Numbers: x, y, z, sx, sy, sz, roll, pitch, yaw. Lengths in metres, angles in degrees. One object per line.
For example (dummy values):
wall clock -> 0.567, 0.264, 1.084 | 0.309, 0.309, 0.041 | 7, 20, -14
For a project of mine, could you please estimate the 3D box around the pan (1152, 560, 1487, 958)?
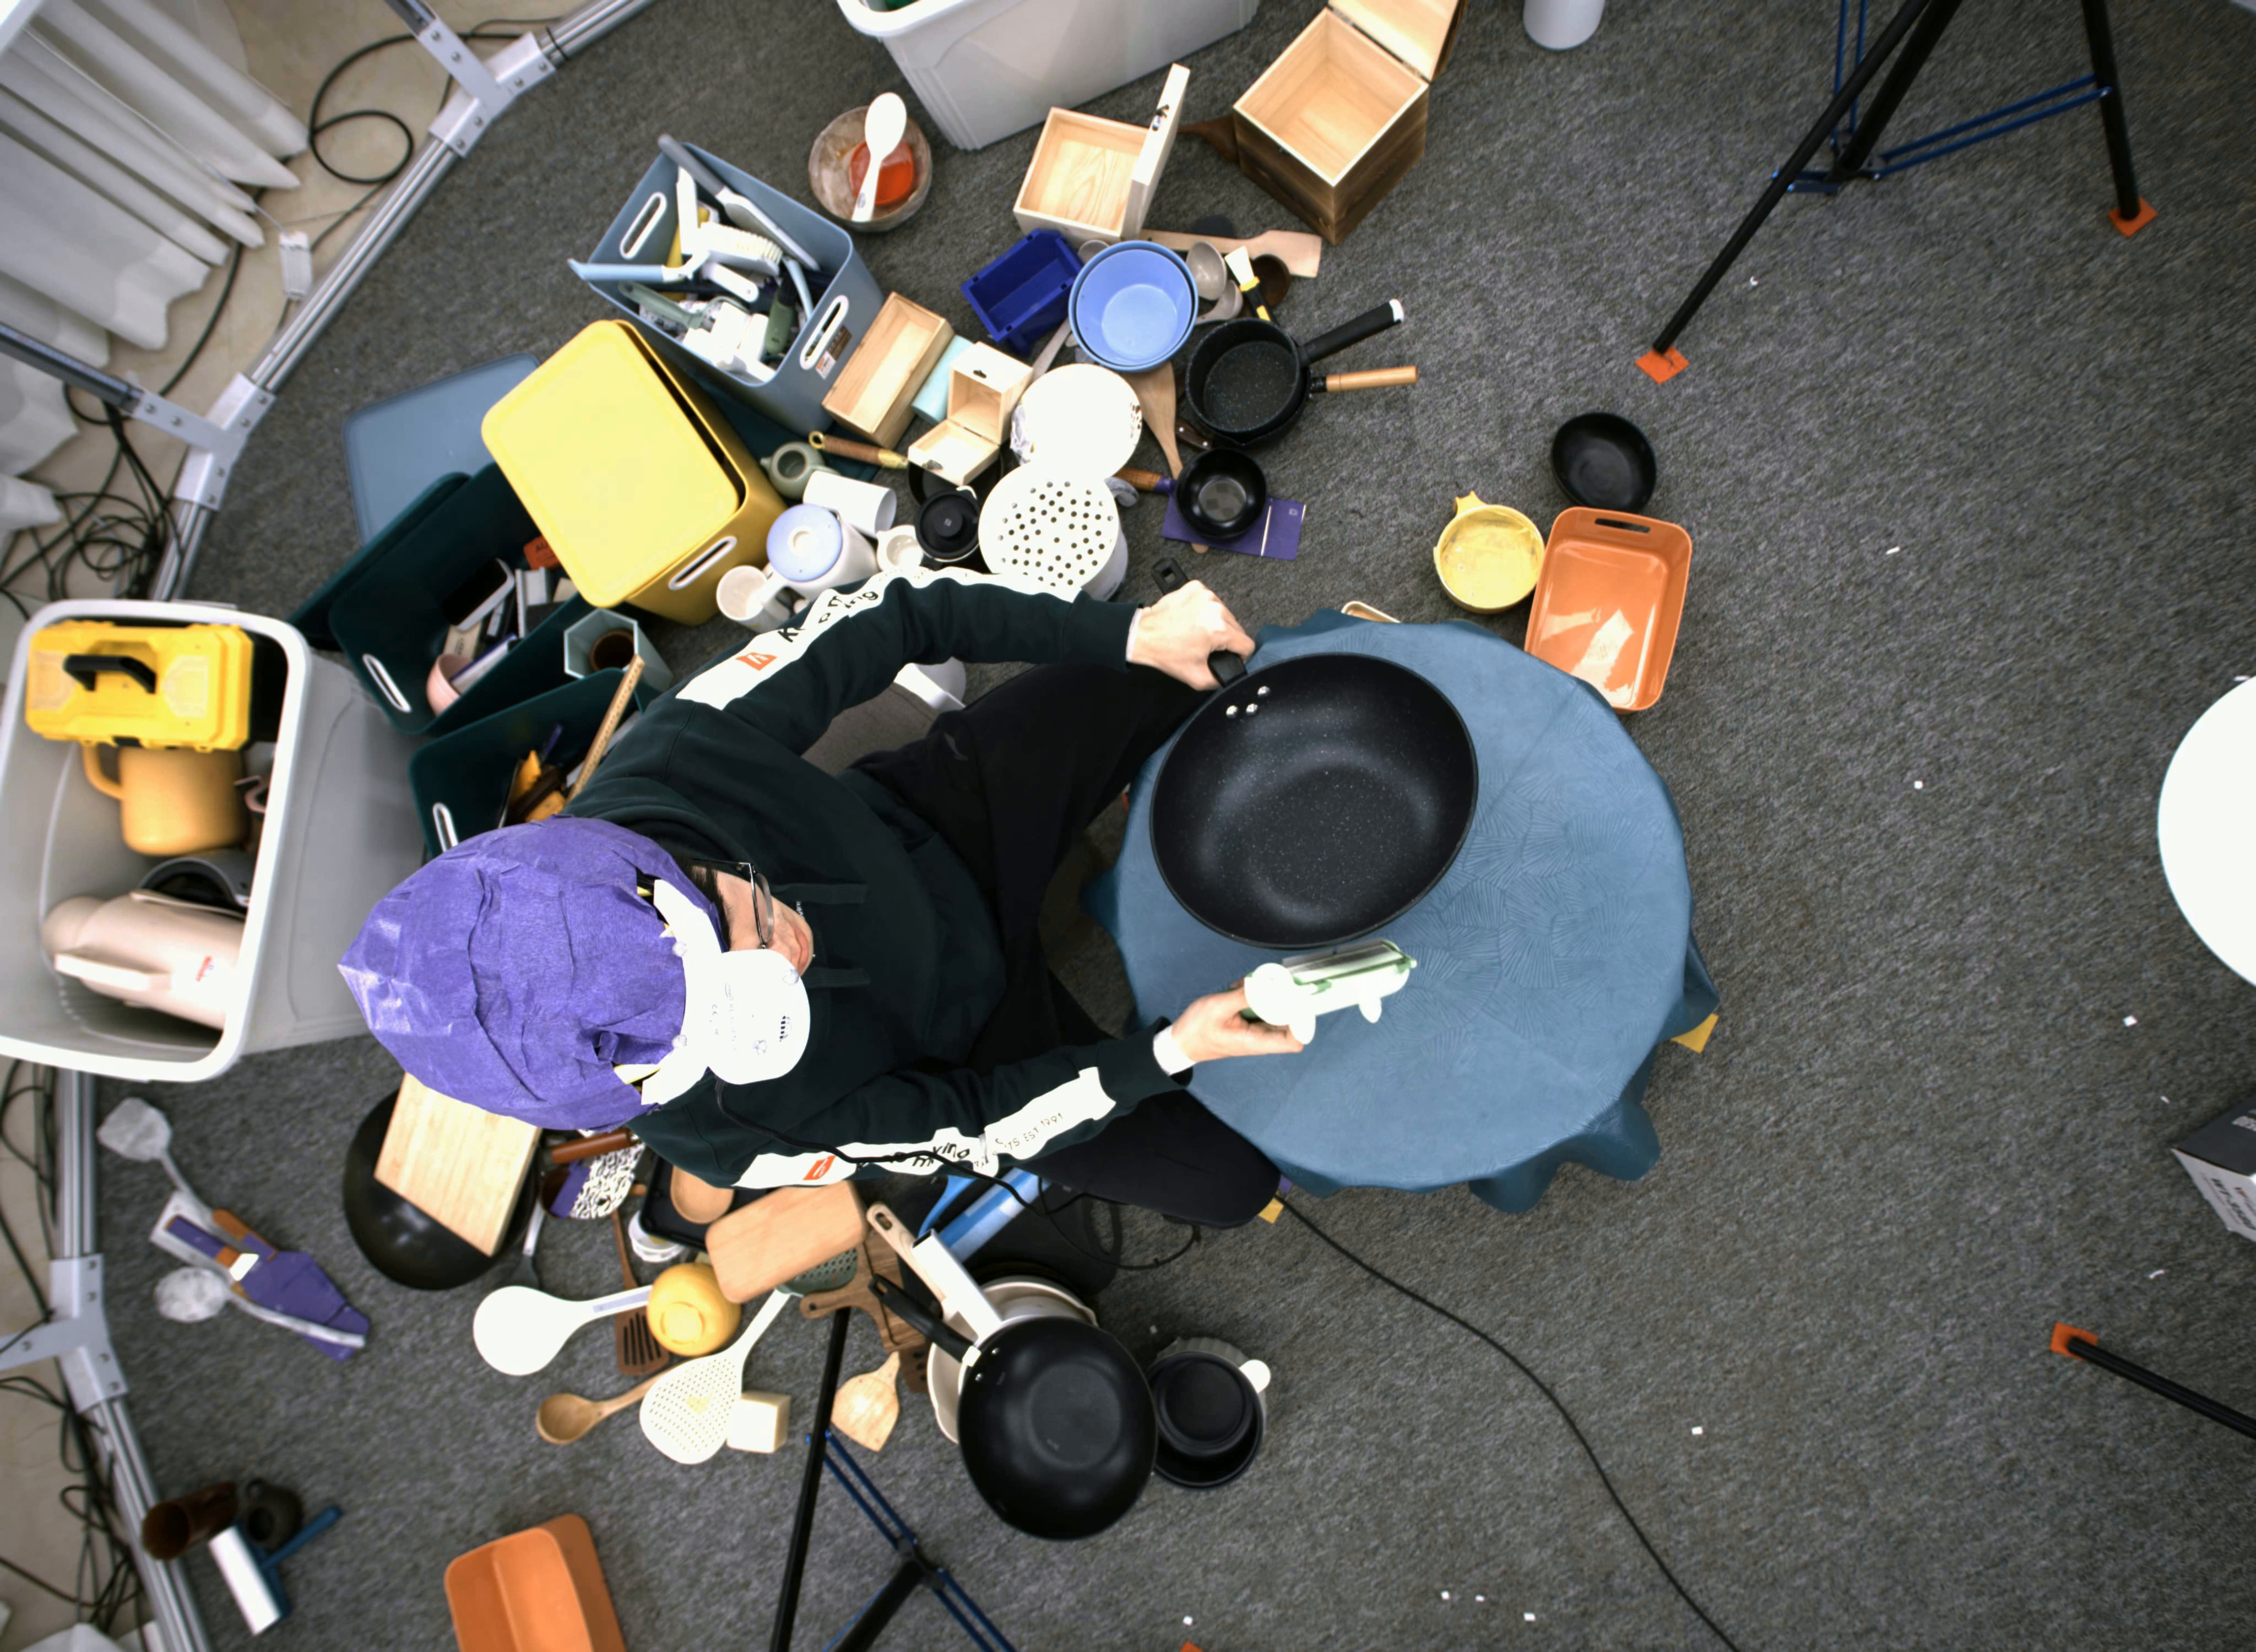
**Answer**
pan -> 0.145, -0.073, 1.323 | 0.311, 0.113, 0.468 | -31, 57, 5

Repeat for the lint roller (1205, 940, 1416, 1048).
lint roller -> 0.150, 0.170, 1.283 | 0.187, 0.196, 0.081 | -33, 73, 37
